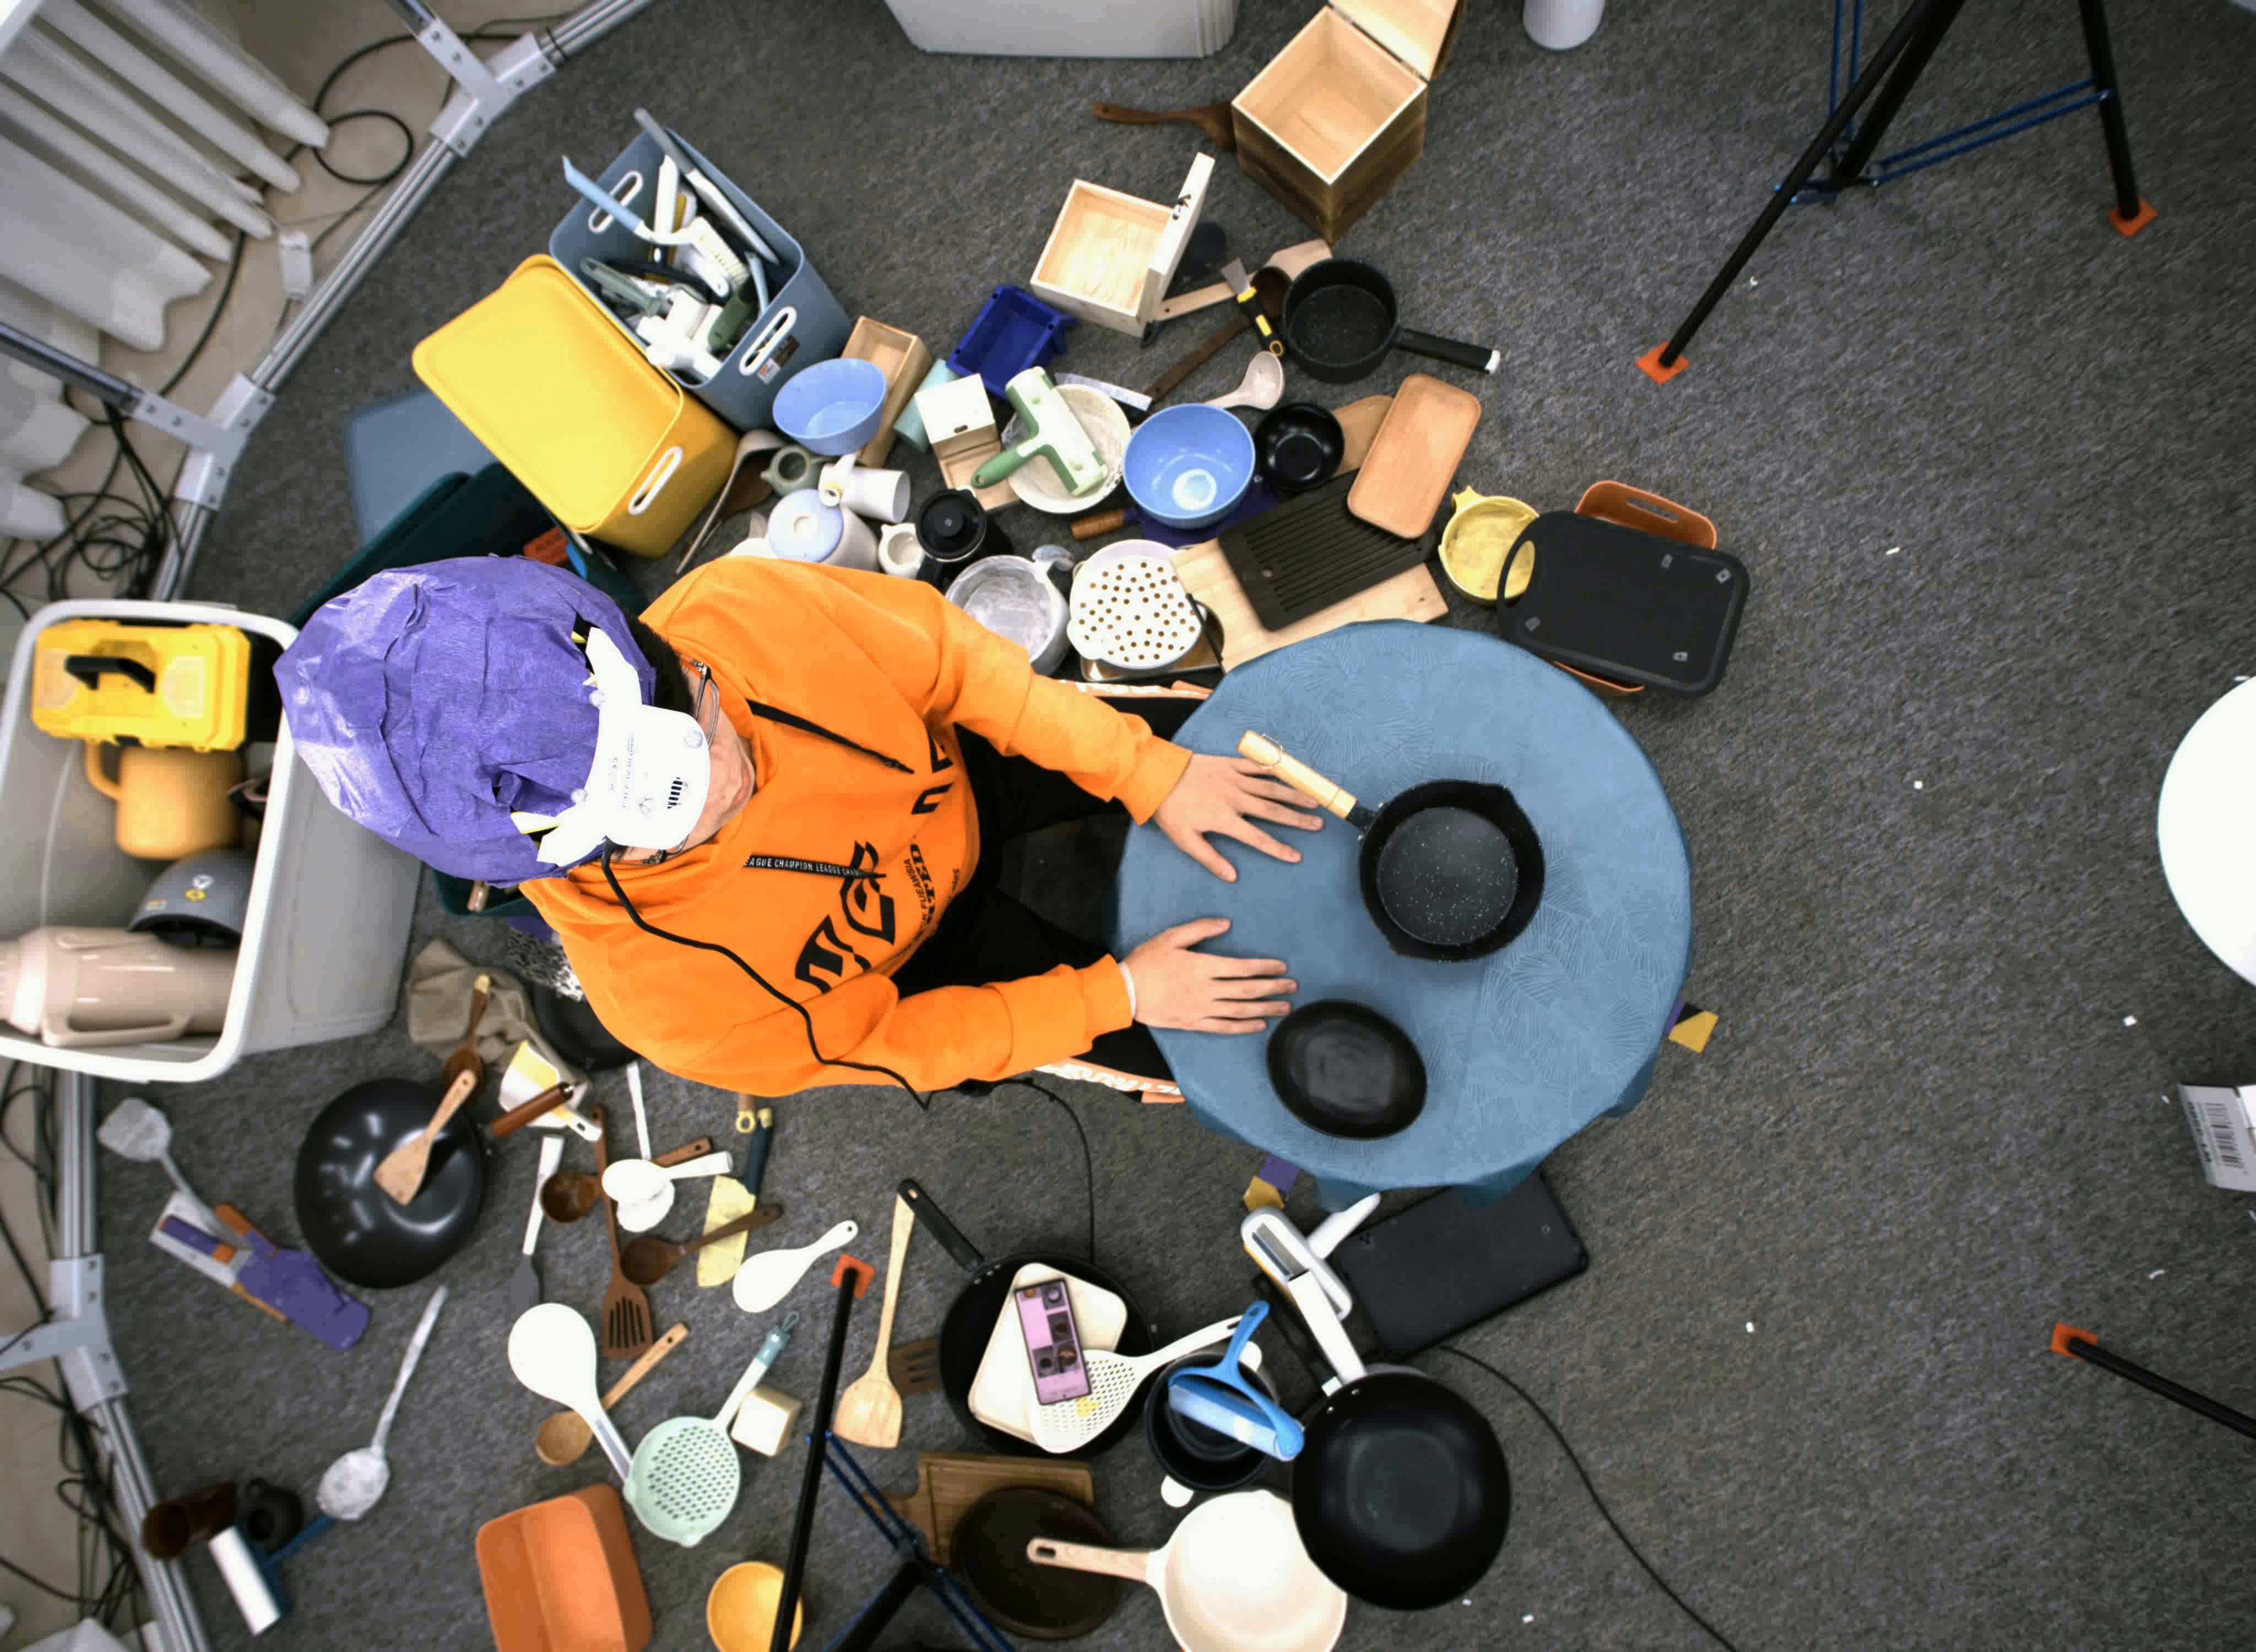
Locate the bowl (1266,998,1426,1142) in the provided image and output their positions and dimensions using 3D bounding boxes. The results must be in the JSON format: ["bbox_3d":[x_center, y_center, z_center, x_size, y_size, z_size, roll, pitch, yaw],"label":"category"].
[{"bbox_3d":[0.225,0.248,1.426,0.170,0.066,0.137,25,91,9],"label":"bowl"}]

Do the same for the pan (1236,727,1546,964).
[{"bbox_3d":[0.260,0.004,1.411,0.342,0.108,0.208,32,94,9],"label":"pan"}]
